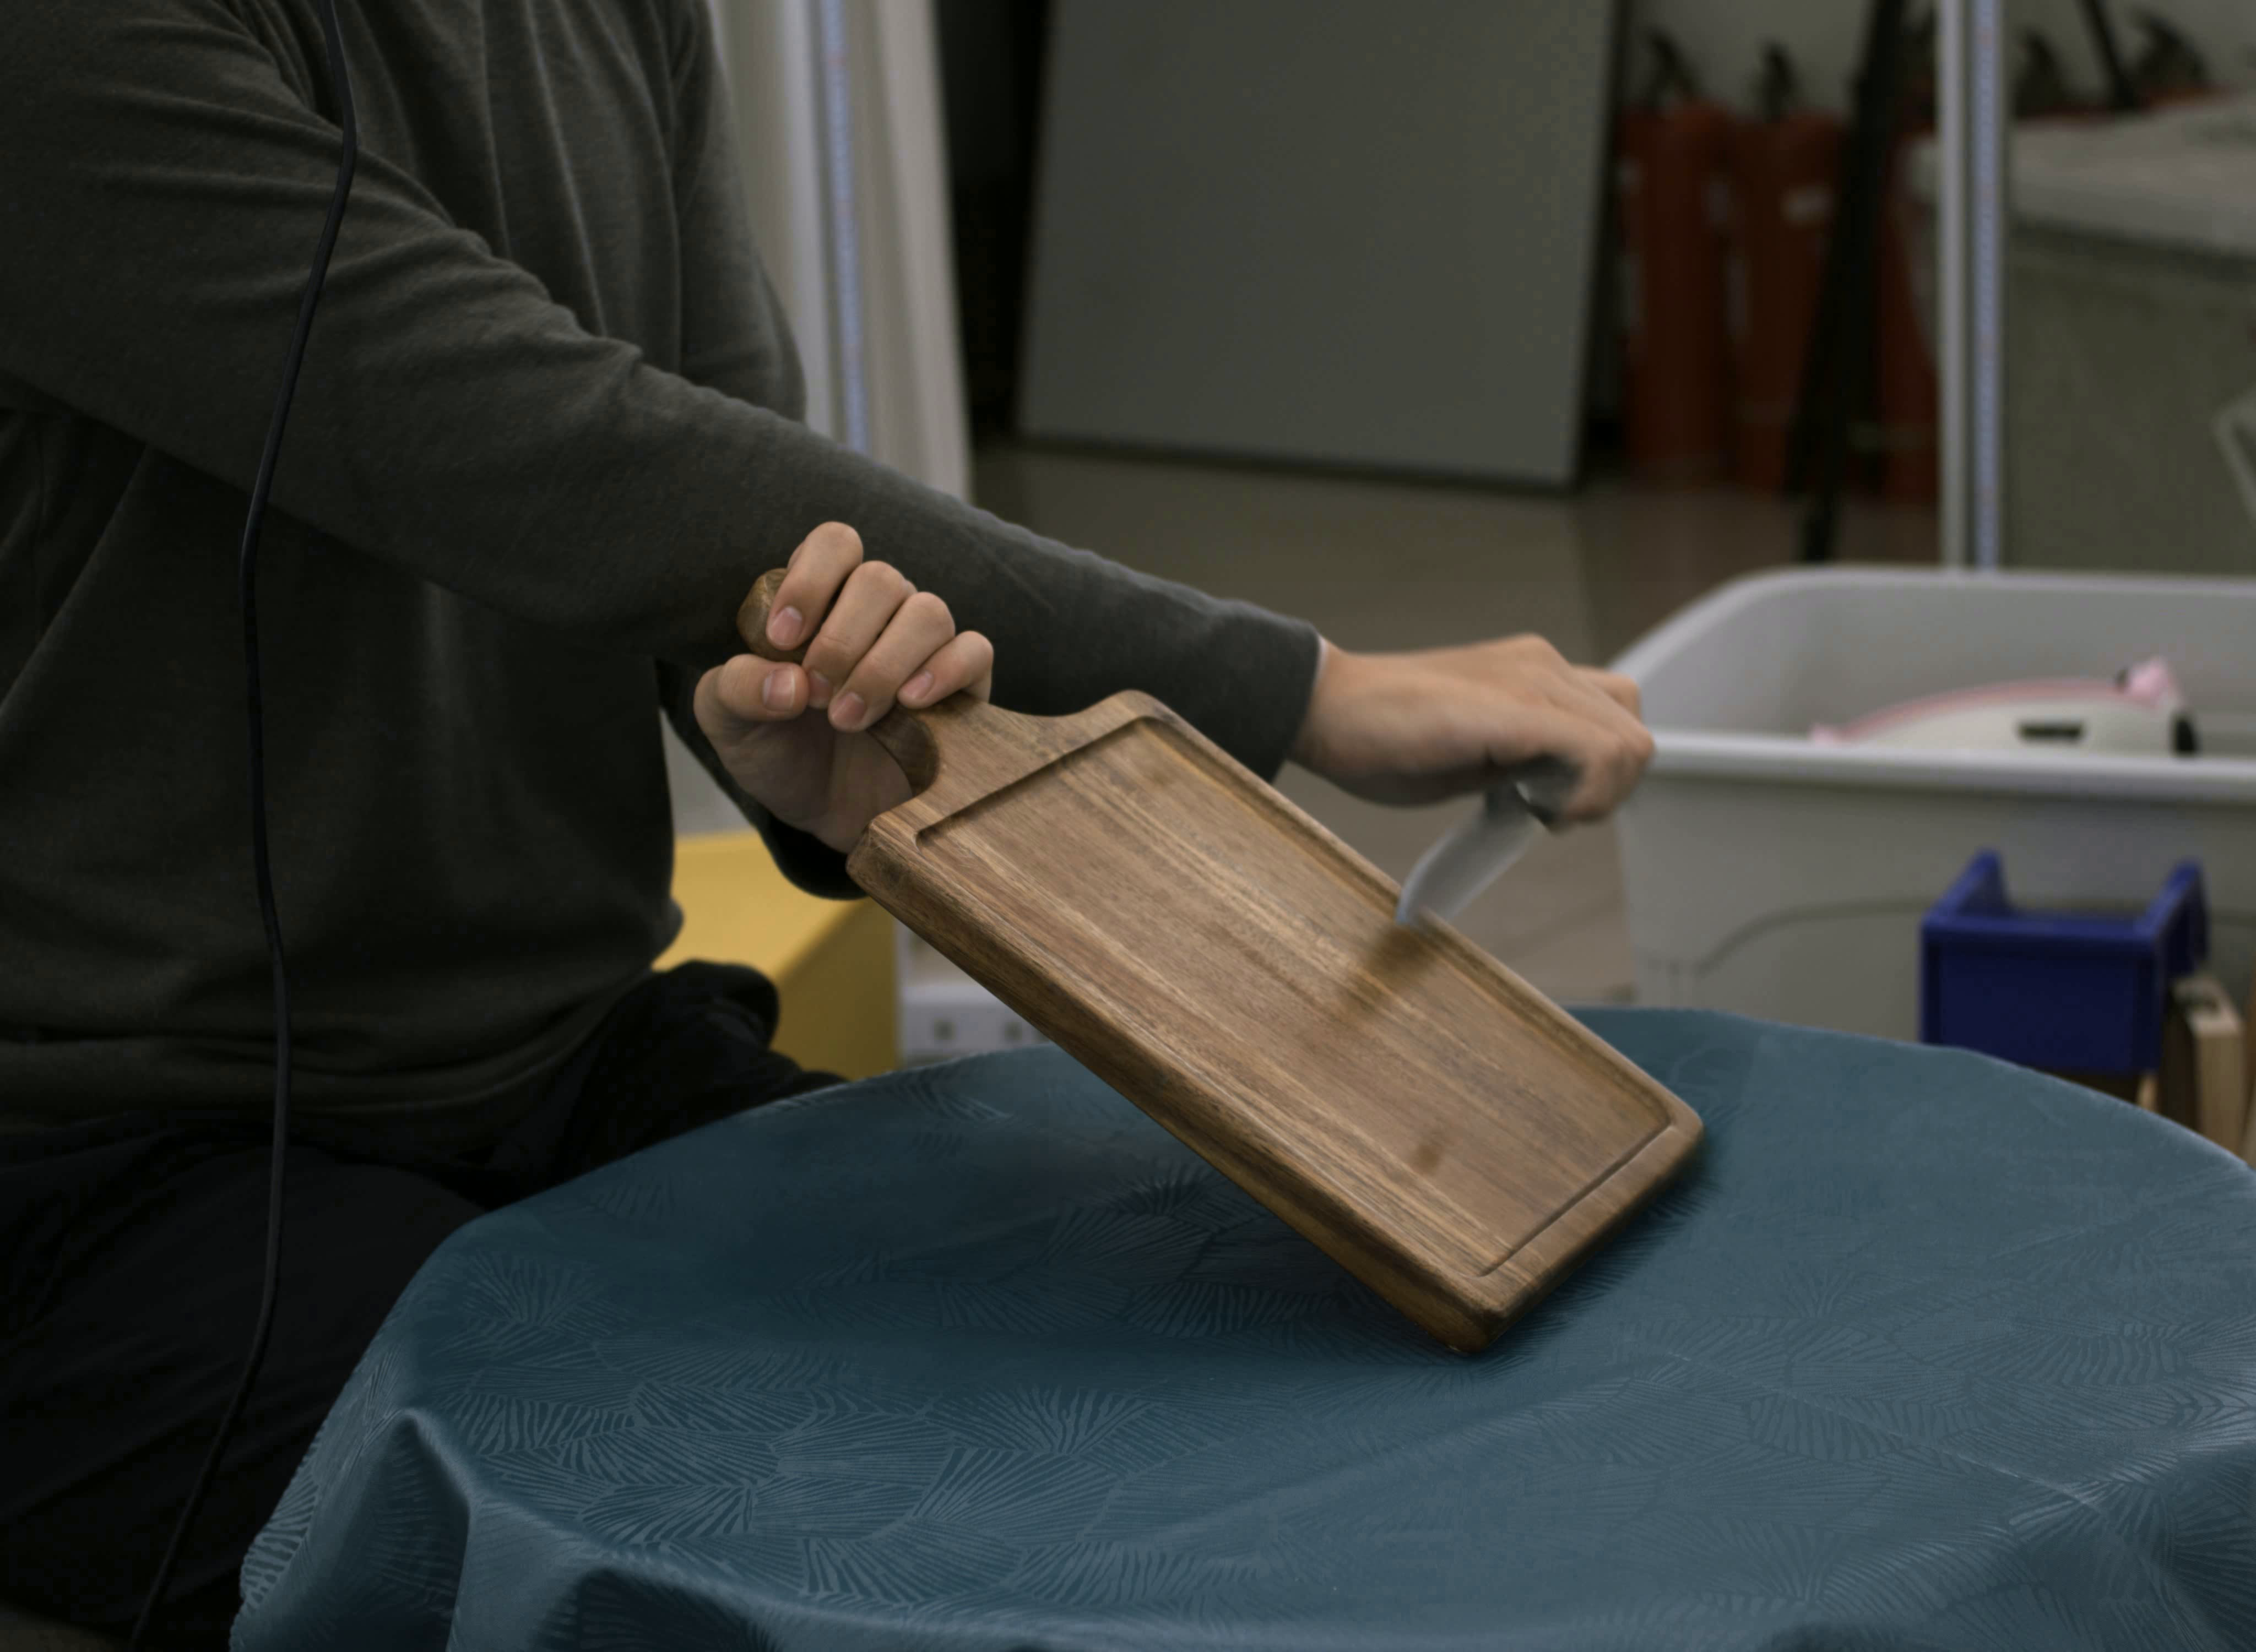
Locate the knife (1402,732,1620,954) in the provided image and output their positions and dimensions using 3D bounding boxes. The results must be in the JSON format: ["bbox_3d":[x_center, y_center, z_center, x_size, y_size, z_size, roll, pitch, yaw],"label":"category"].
[{"bbox_3d":[0.128,0.005,1.829,0.024,0.016,0.236,39,26,6],"label":"knife"}]

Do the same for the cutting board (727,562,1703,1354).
[{"bbox_3d":[0.012,0.025,1.714,0.353,0.023,0.198,37,27,14],"label":"cutting board"}]
